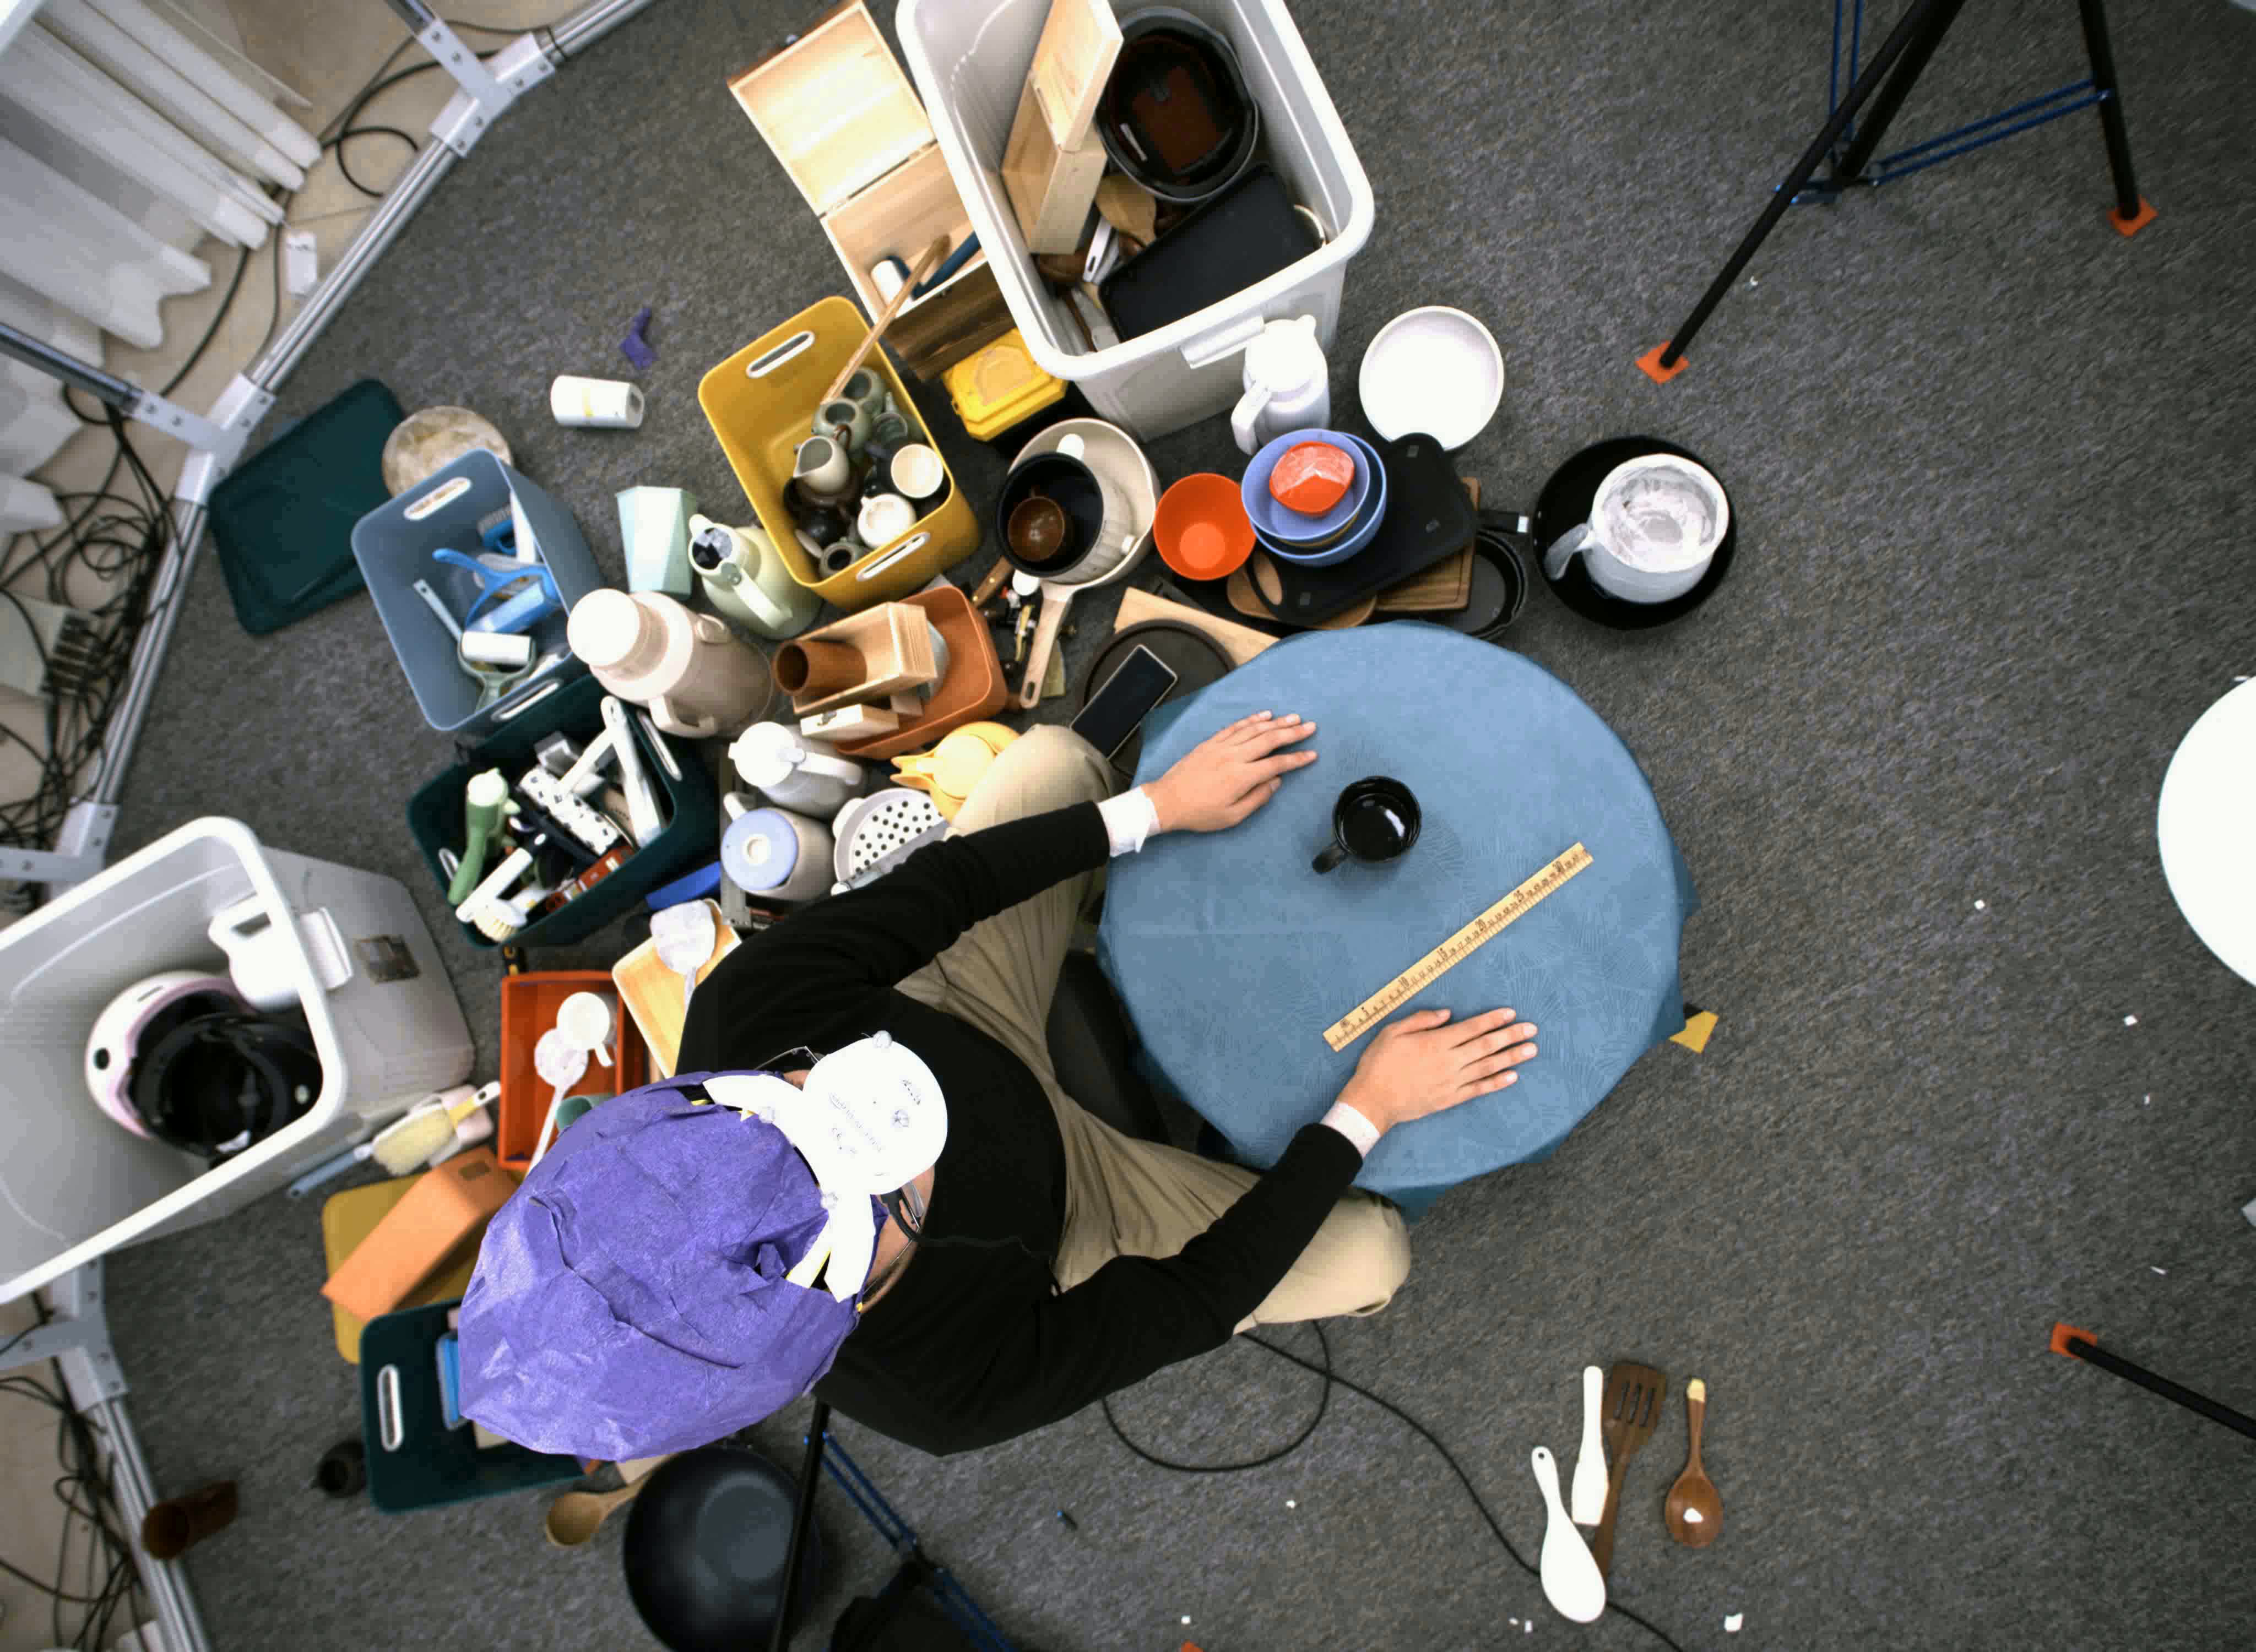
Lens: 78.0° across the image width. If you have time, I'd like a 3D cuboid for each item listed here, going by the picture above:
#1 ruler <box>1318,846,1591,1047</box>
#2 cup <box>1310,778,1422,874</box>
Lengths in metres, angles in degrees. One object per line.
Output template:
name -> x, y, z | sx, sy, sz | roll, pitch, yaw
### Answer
ruler -> 0.341, 0.125, 1.439 | 0.333, 0.022, 0.027 | -36, 76, 6
cup -> 0.241, 0.008, 1.418 | 0.124, 0.105, 0.088 | -35, 82, 6
